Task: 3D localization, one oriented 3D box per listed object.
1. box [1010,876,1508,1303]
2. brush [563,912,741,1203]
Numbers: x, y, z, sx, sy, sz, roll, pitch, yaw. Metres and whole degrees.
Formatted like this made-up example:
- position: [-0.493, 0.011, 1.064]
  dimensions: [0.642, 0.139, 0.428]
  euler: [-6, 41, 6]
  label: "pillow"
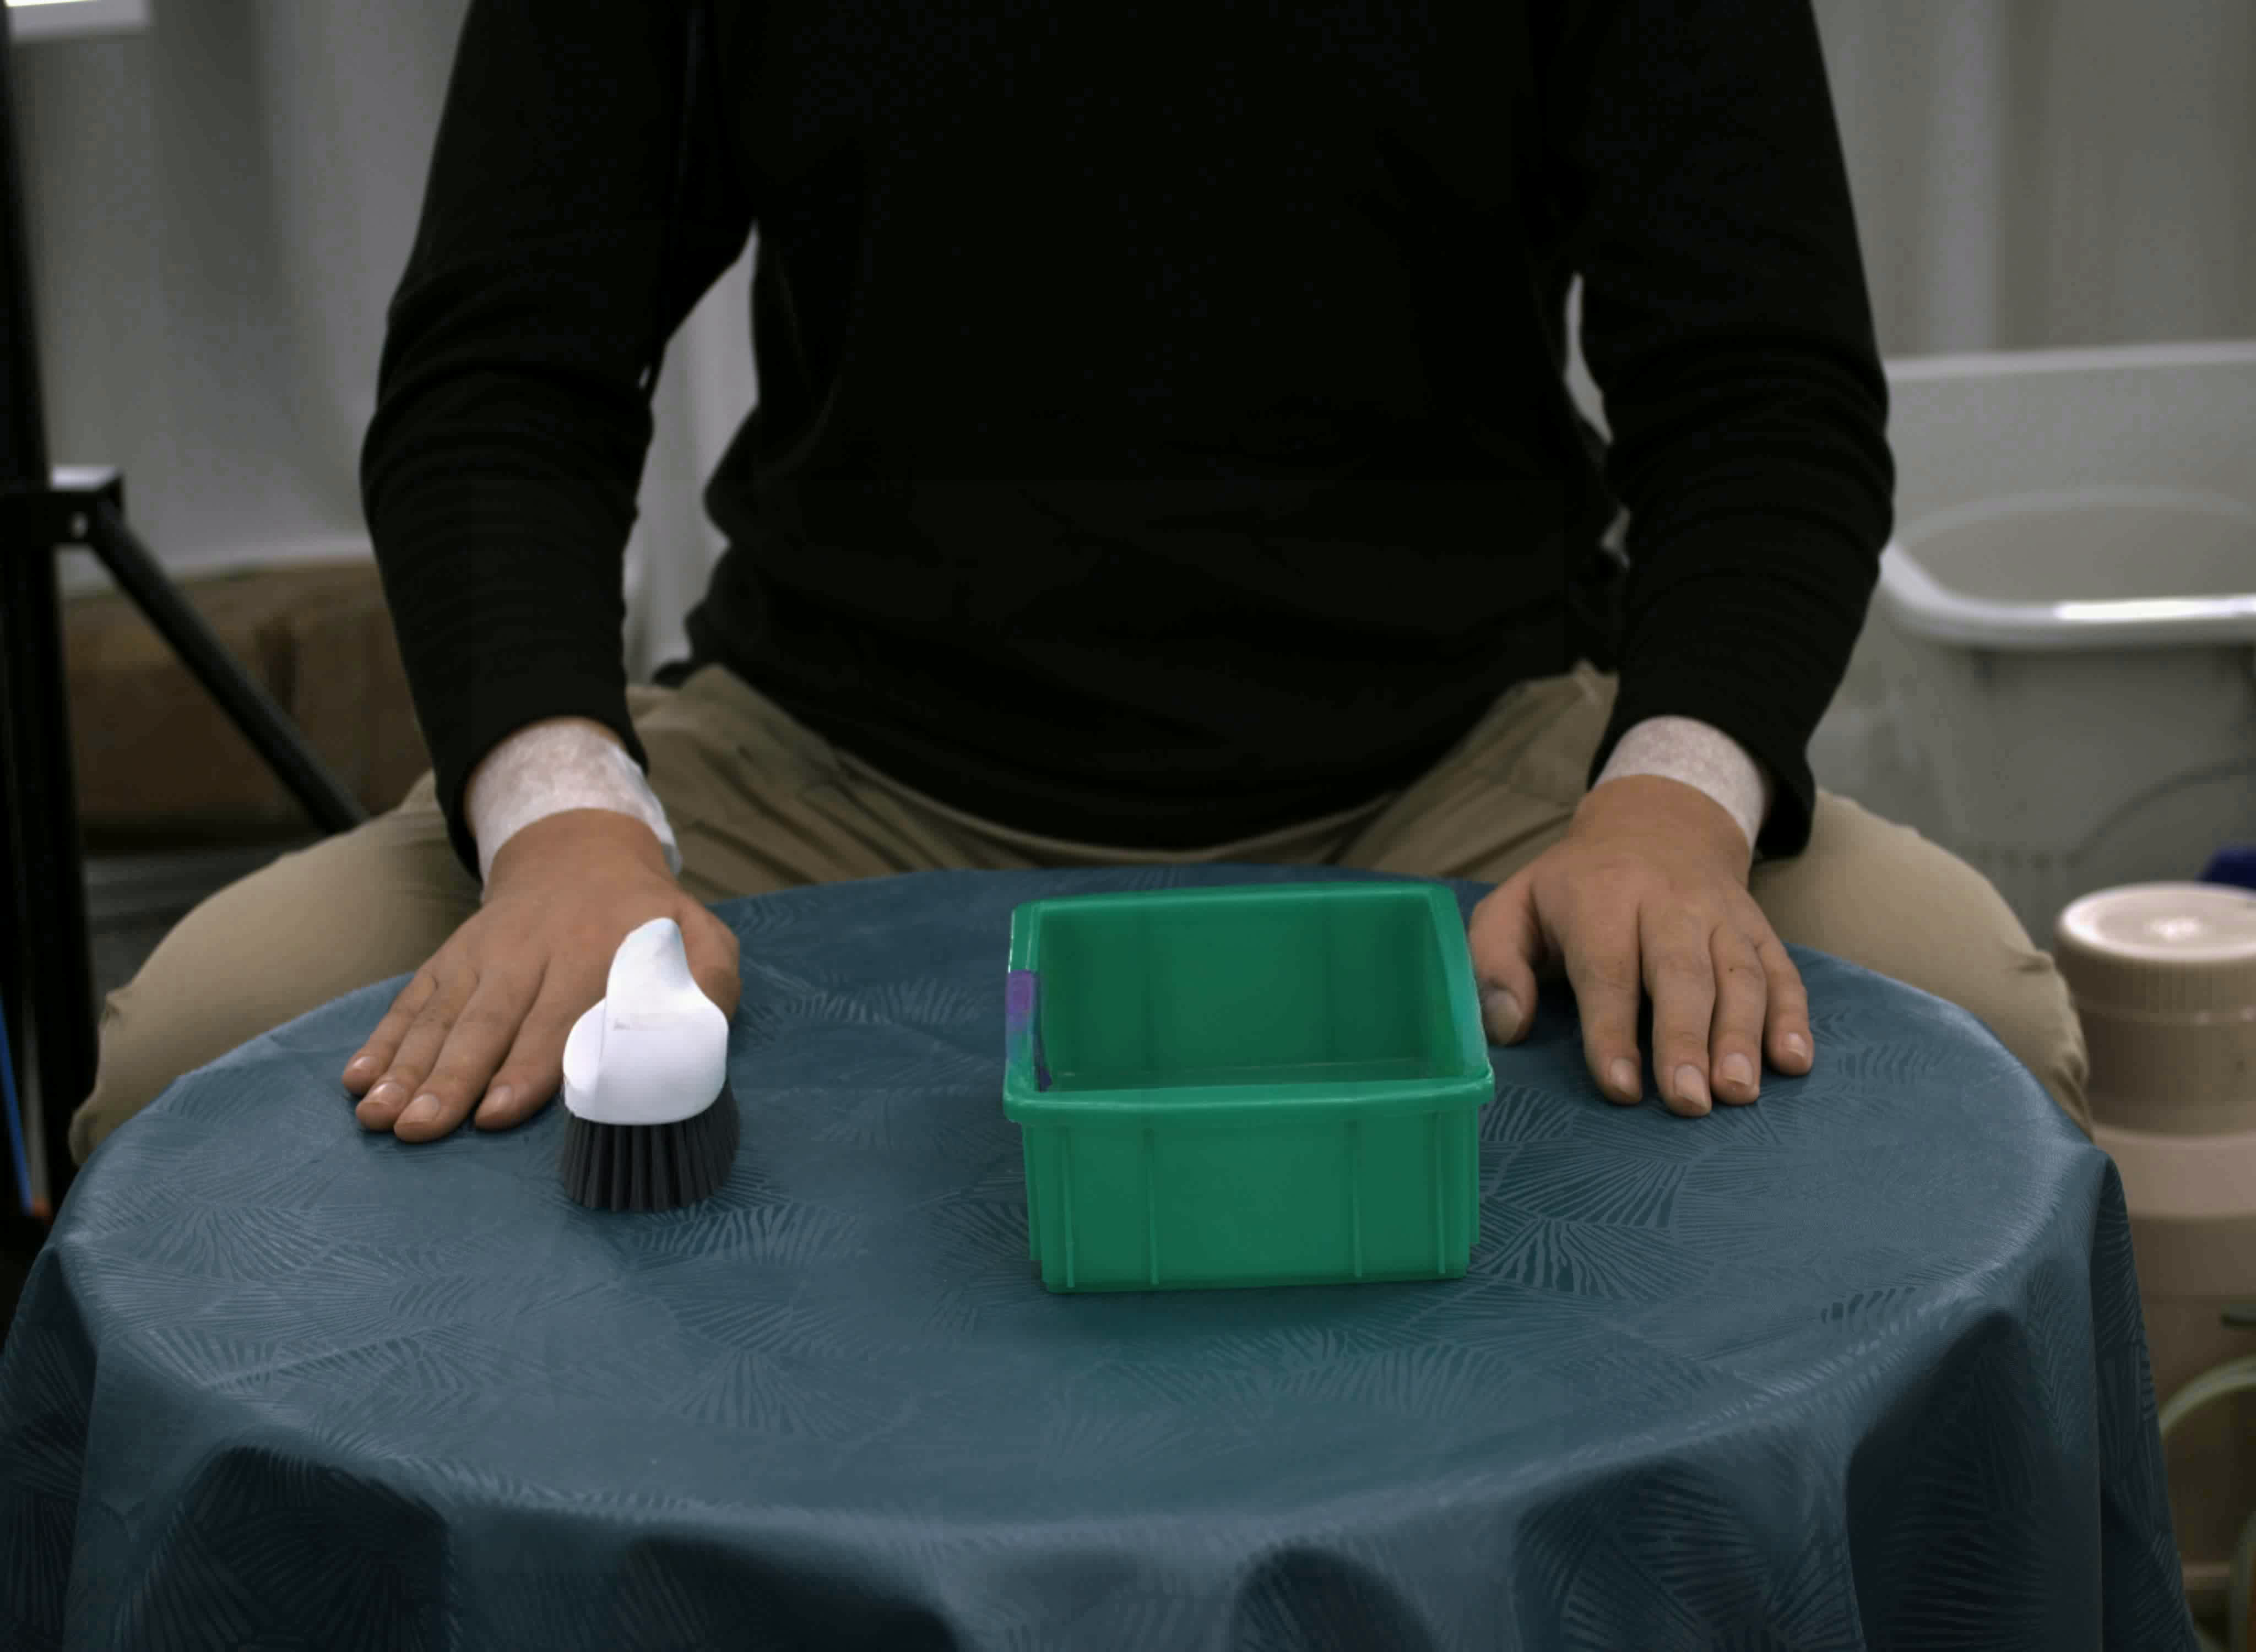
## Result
- position: [0.036, 0.076, 1.550]
  dimensions: [0.138, 0.065, 0.211]
  euler: [-4, 17, 0]
  label: "box"
- position: [-0.144, 0.064, 1.599]
  dimensions: [0.050, 0.072, 0.099]
  euler: [-2, 15, 3]
  label: "brush"
